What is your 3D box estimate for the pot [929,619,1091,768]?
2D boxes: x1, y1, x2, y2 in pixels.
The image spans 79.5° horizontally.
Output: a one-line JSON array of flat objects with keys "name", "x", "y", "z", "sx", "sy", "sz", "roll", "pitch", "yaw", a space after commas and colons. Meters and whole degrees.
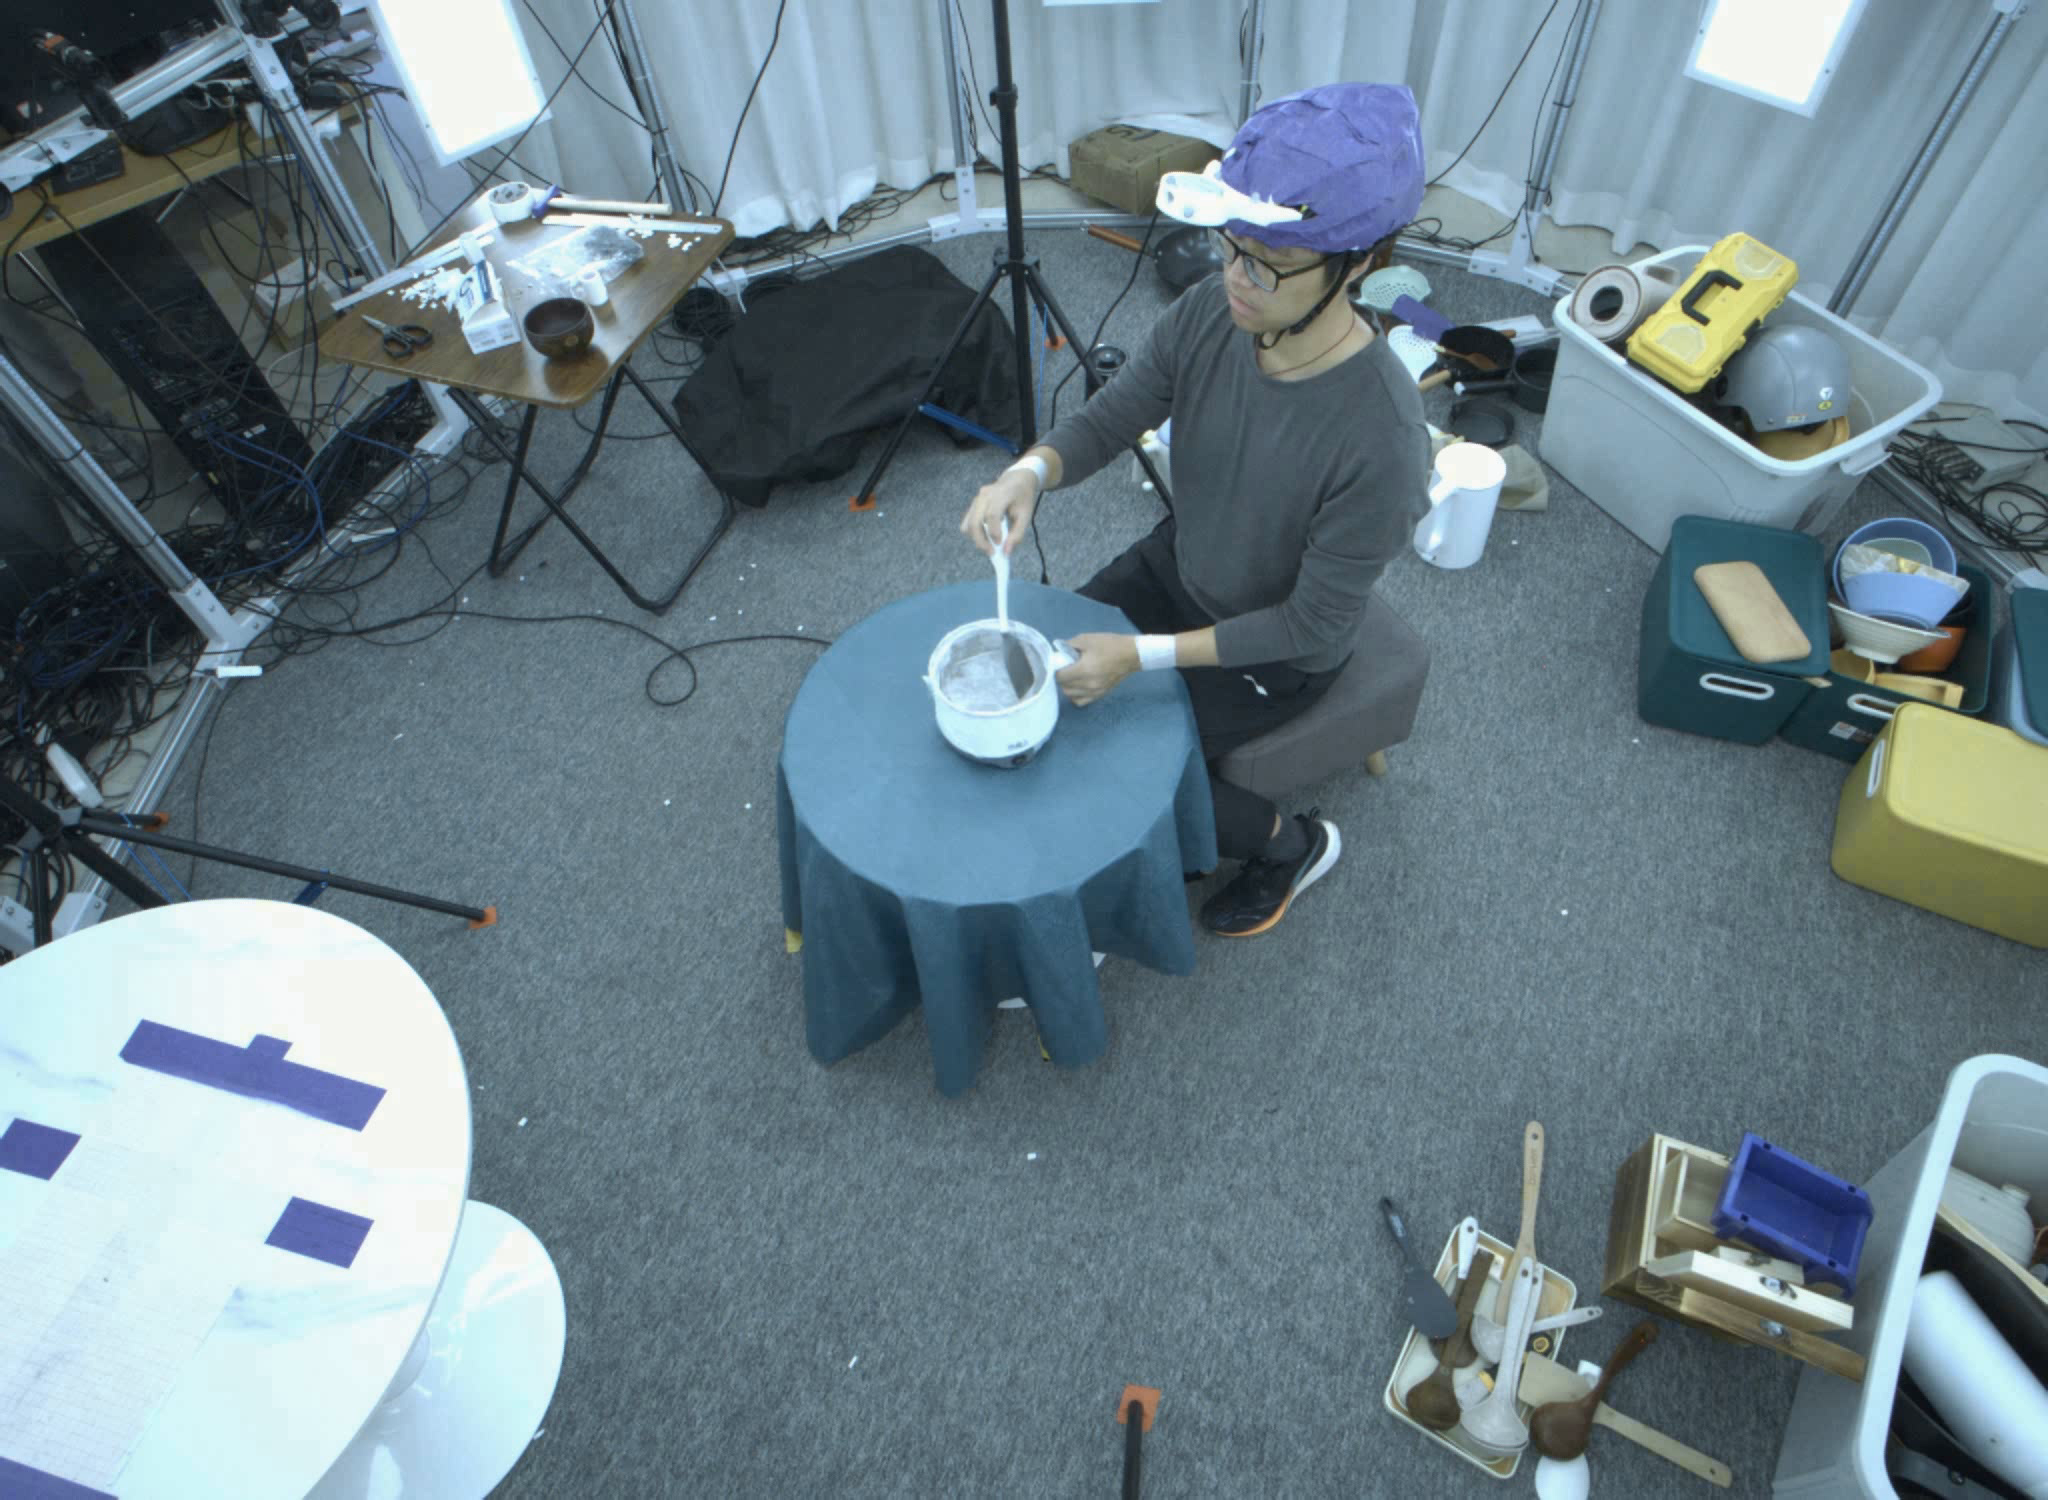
[{"name": "pot", "x": -0.016, "y": -0.089, "z": 1.775, "sx": 0.235, "sy": 0.138, "sz": 0.175, "roll": -20, "pitch": 56, "yaw": -12}]

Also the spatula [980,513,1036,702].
[{"name": "spatula", "x": -0.023, "y": -0.193, "z": 1.692, "sx": 0.031, "sy": 0.291, "sz": 0.059, "roll": 12, "pitch": 44, "yaw": 24}]
